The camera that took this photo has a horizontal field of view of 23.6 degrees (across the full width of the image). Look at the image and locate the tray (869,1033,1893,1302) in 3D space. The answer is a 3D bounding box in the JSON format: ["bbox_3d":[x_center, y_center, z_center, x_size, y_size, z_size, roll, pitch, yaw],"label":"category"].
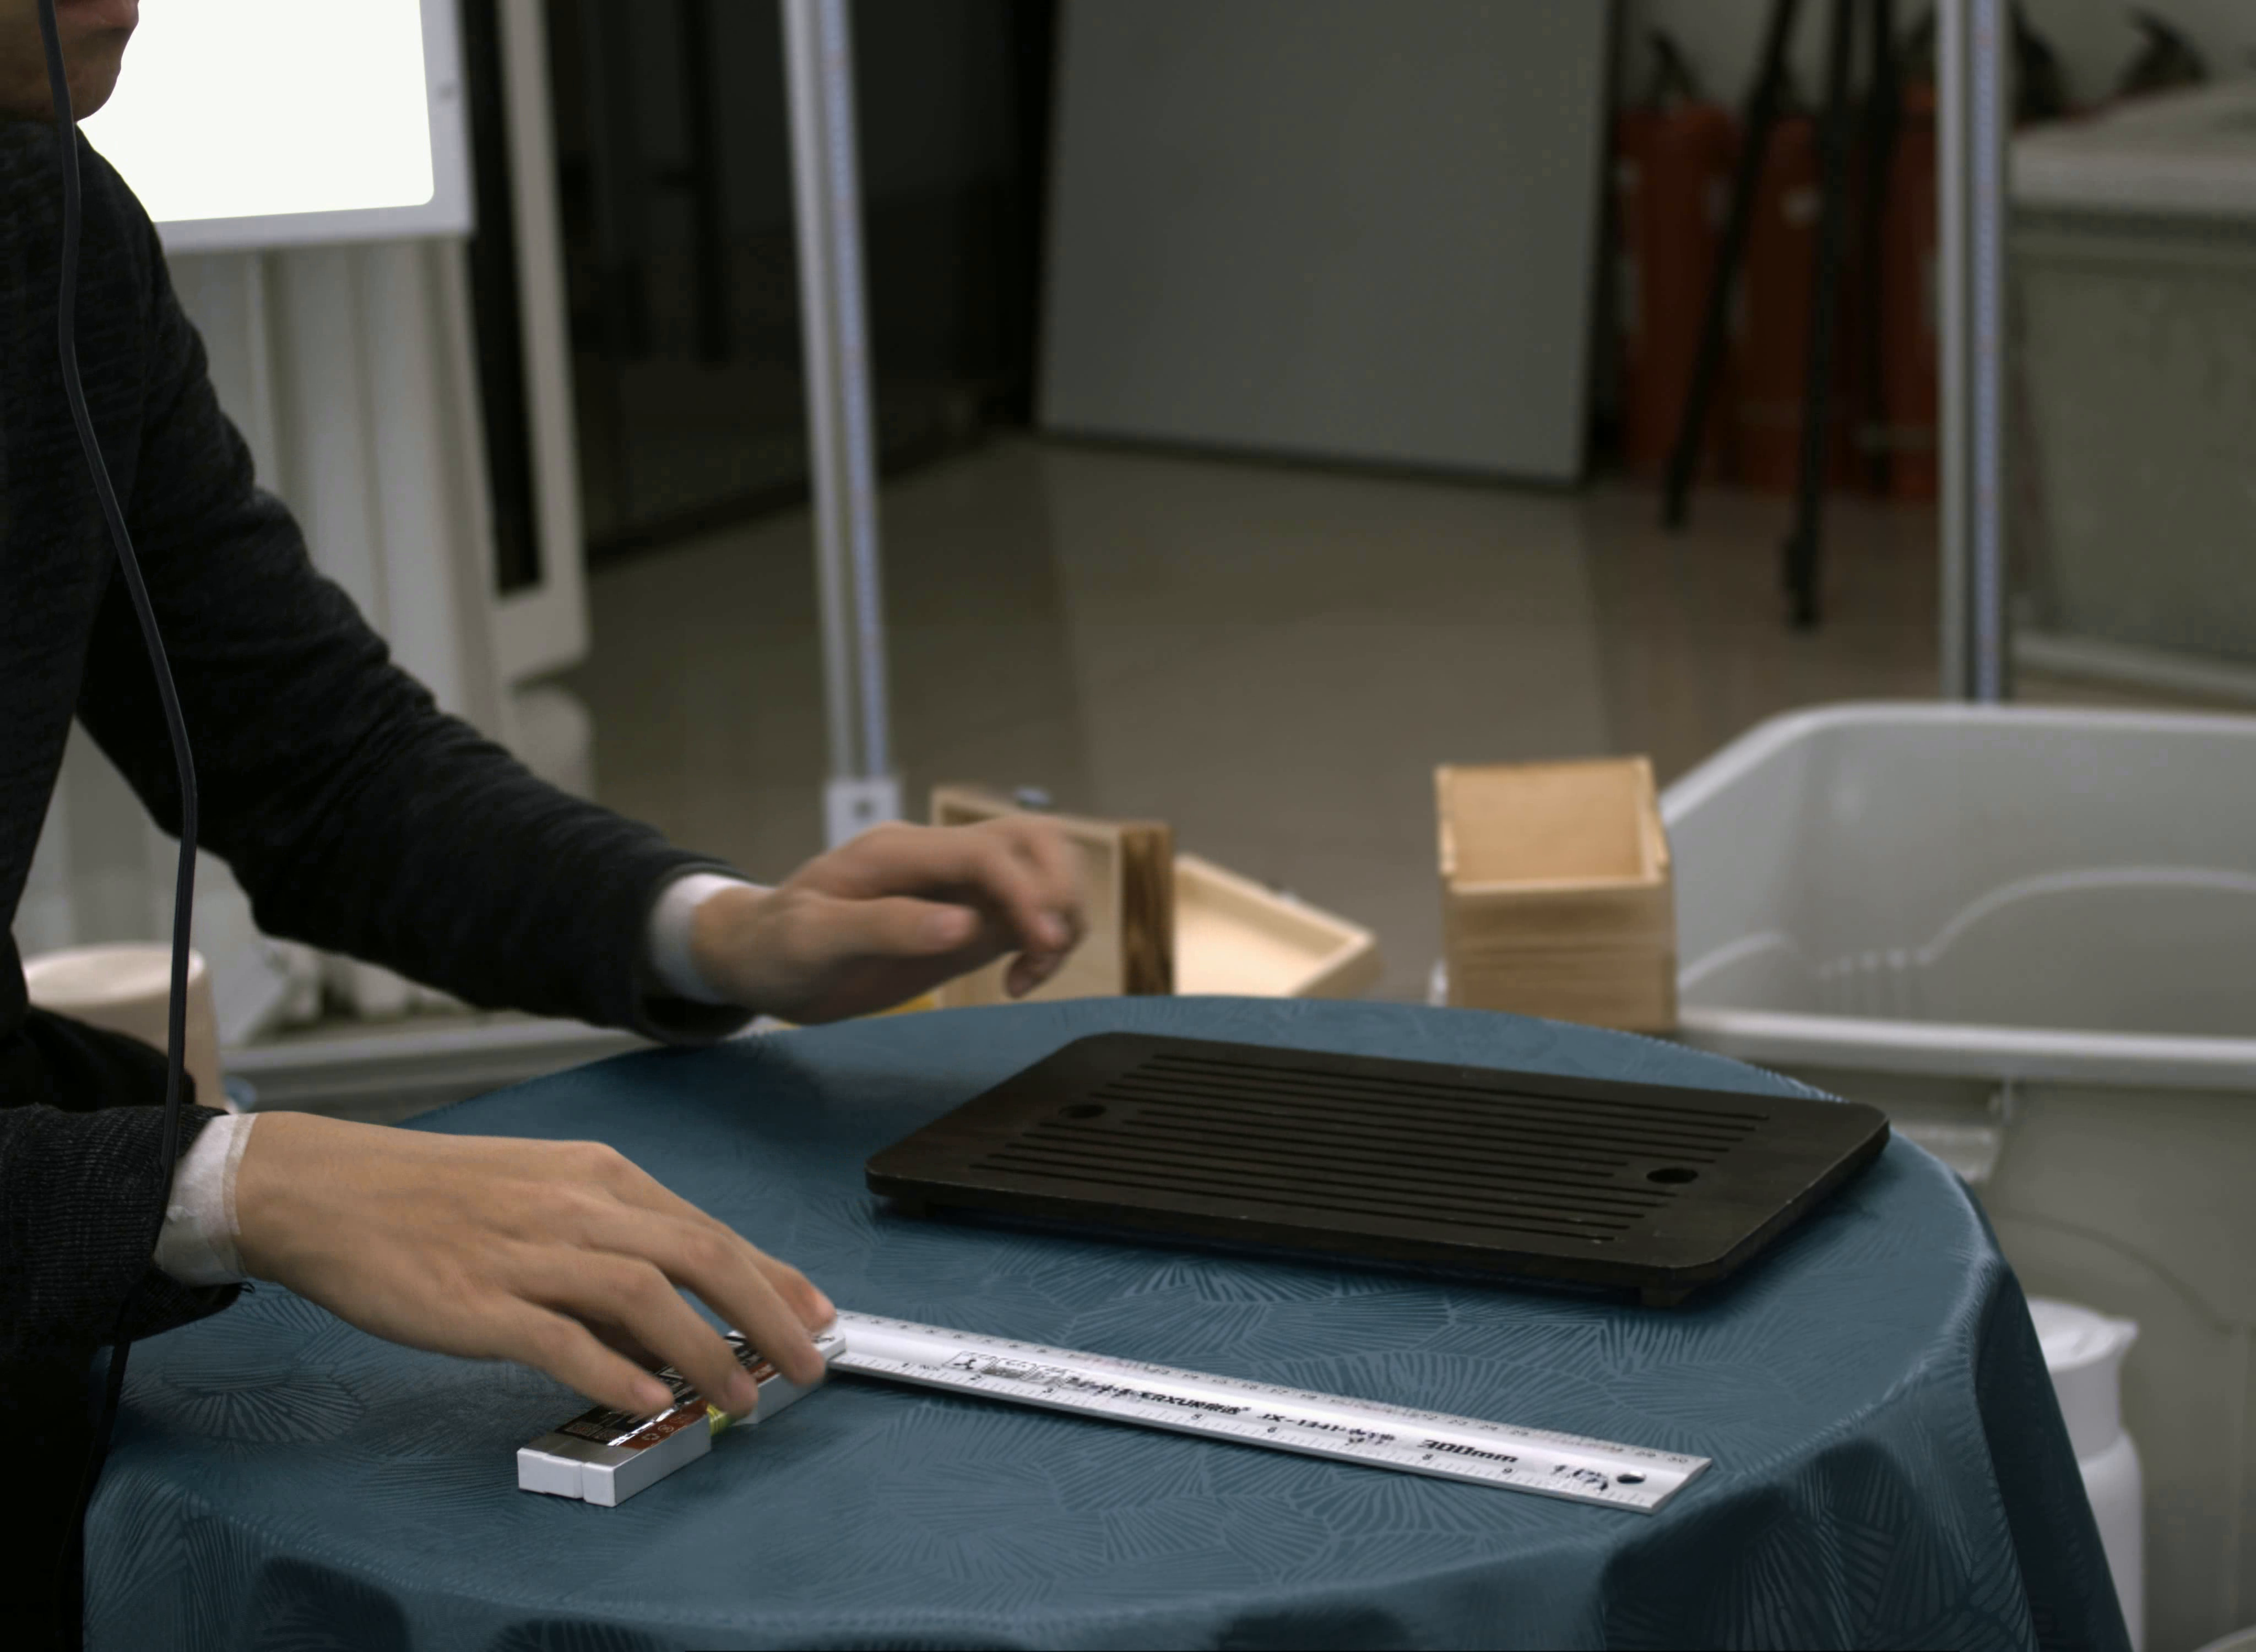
[{"bbox_3d":[0.082,0.109,1.756,0.307,0.019,0.167,4,16,30],"label":"tray"}]

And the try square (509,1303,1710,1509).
[{"bbox_3d":[-0.007,0.179,1.517,0.314,0.016,0.150,6,17,32],"label":"try square"}]
